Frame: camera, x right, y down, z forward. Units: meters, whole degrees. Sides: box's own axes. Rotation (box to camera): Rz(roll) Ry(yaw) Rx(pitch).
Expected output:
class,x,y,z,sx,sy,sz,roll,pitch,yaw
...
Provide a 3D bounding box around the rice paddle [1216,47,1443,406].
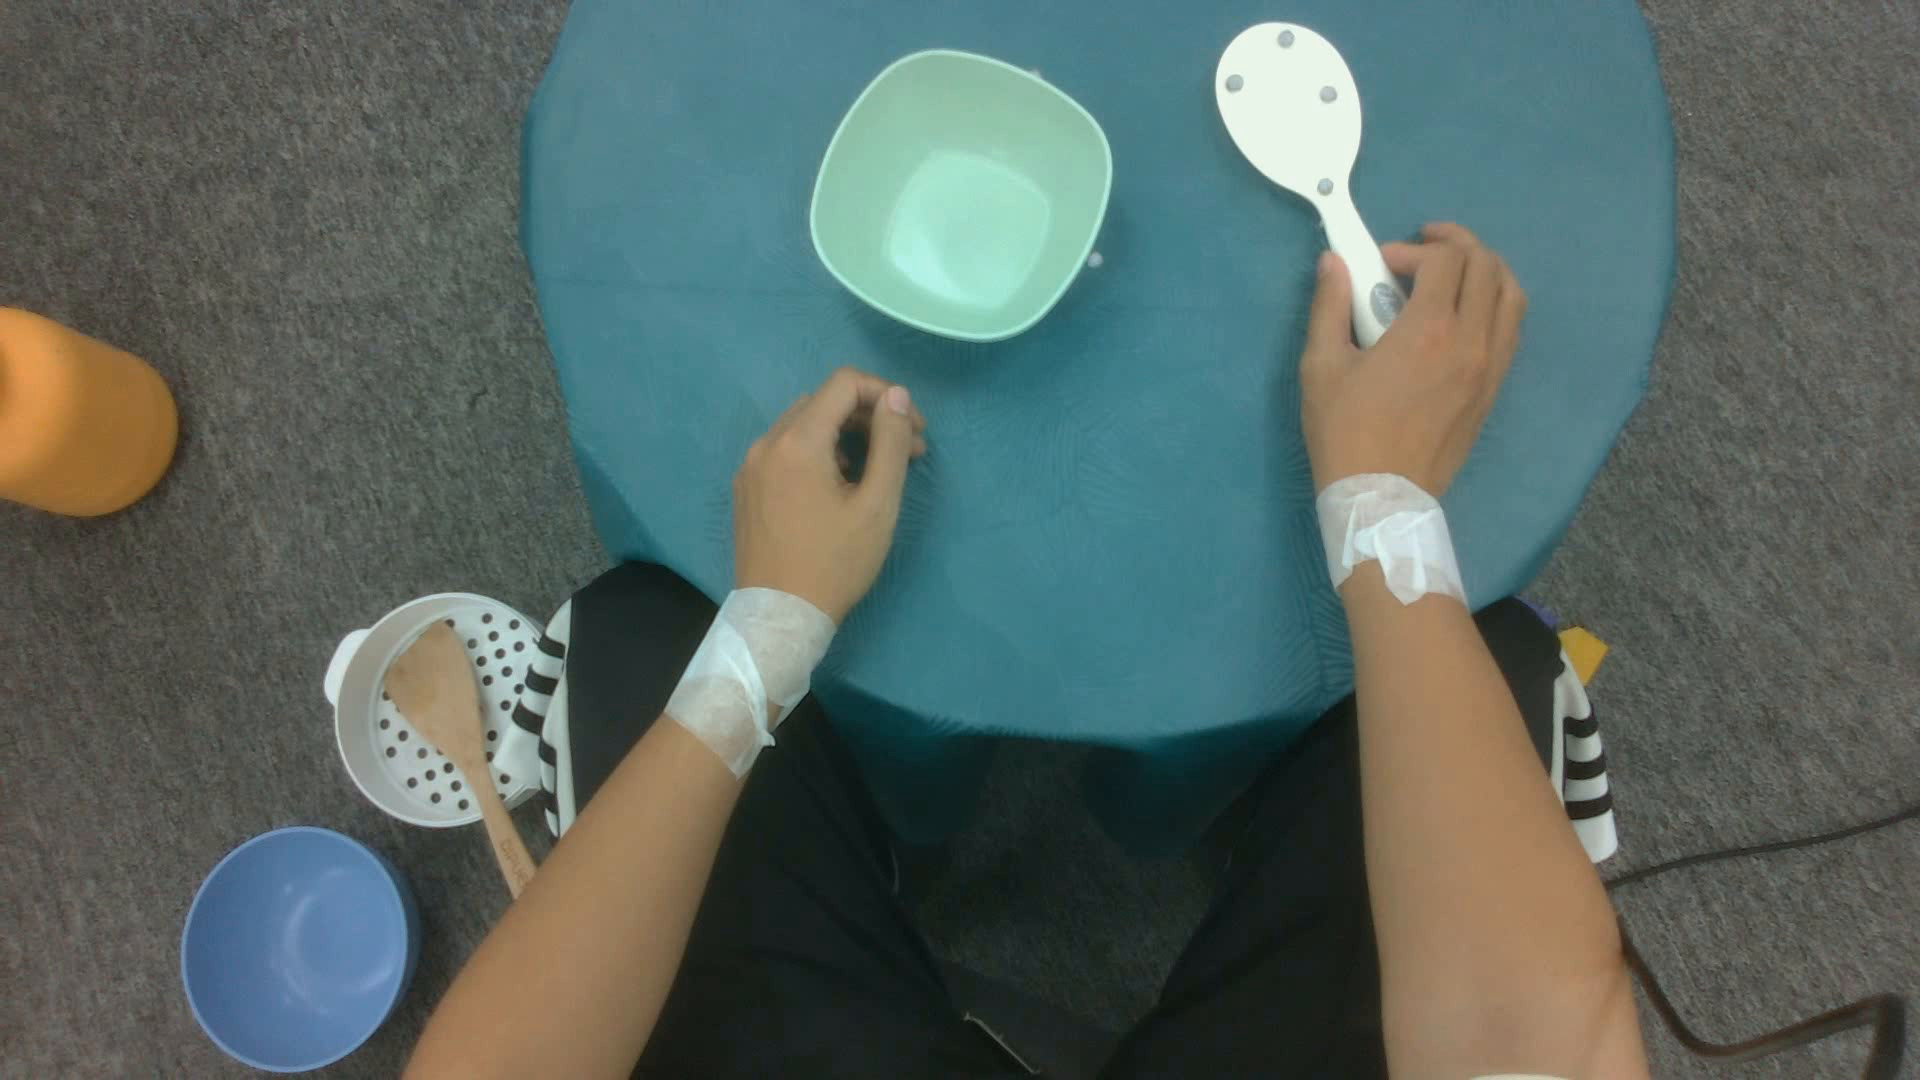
class,x,y,z,sx,sy,sz,roll,pitch,yaw
rice paddle,0.192,-0.167,0.711,0.069,0.029,0.205,-21,80,-1

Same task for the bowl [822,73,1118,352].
class,x,y,z,sx,sy,sz,roll,pitch,yaw
bowl,0.006,-0.159,0.710,0.151,0.058,0.151,-1,78,3
